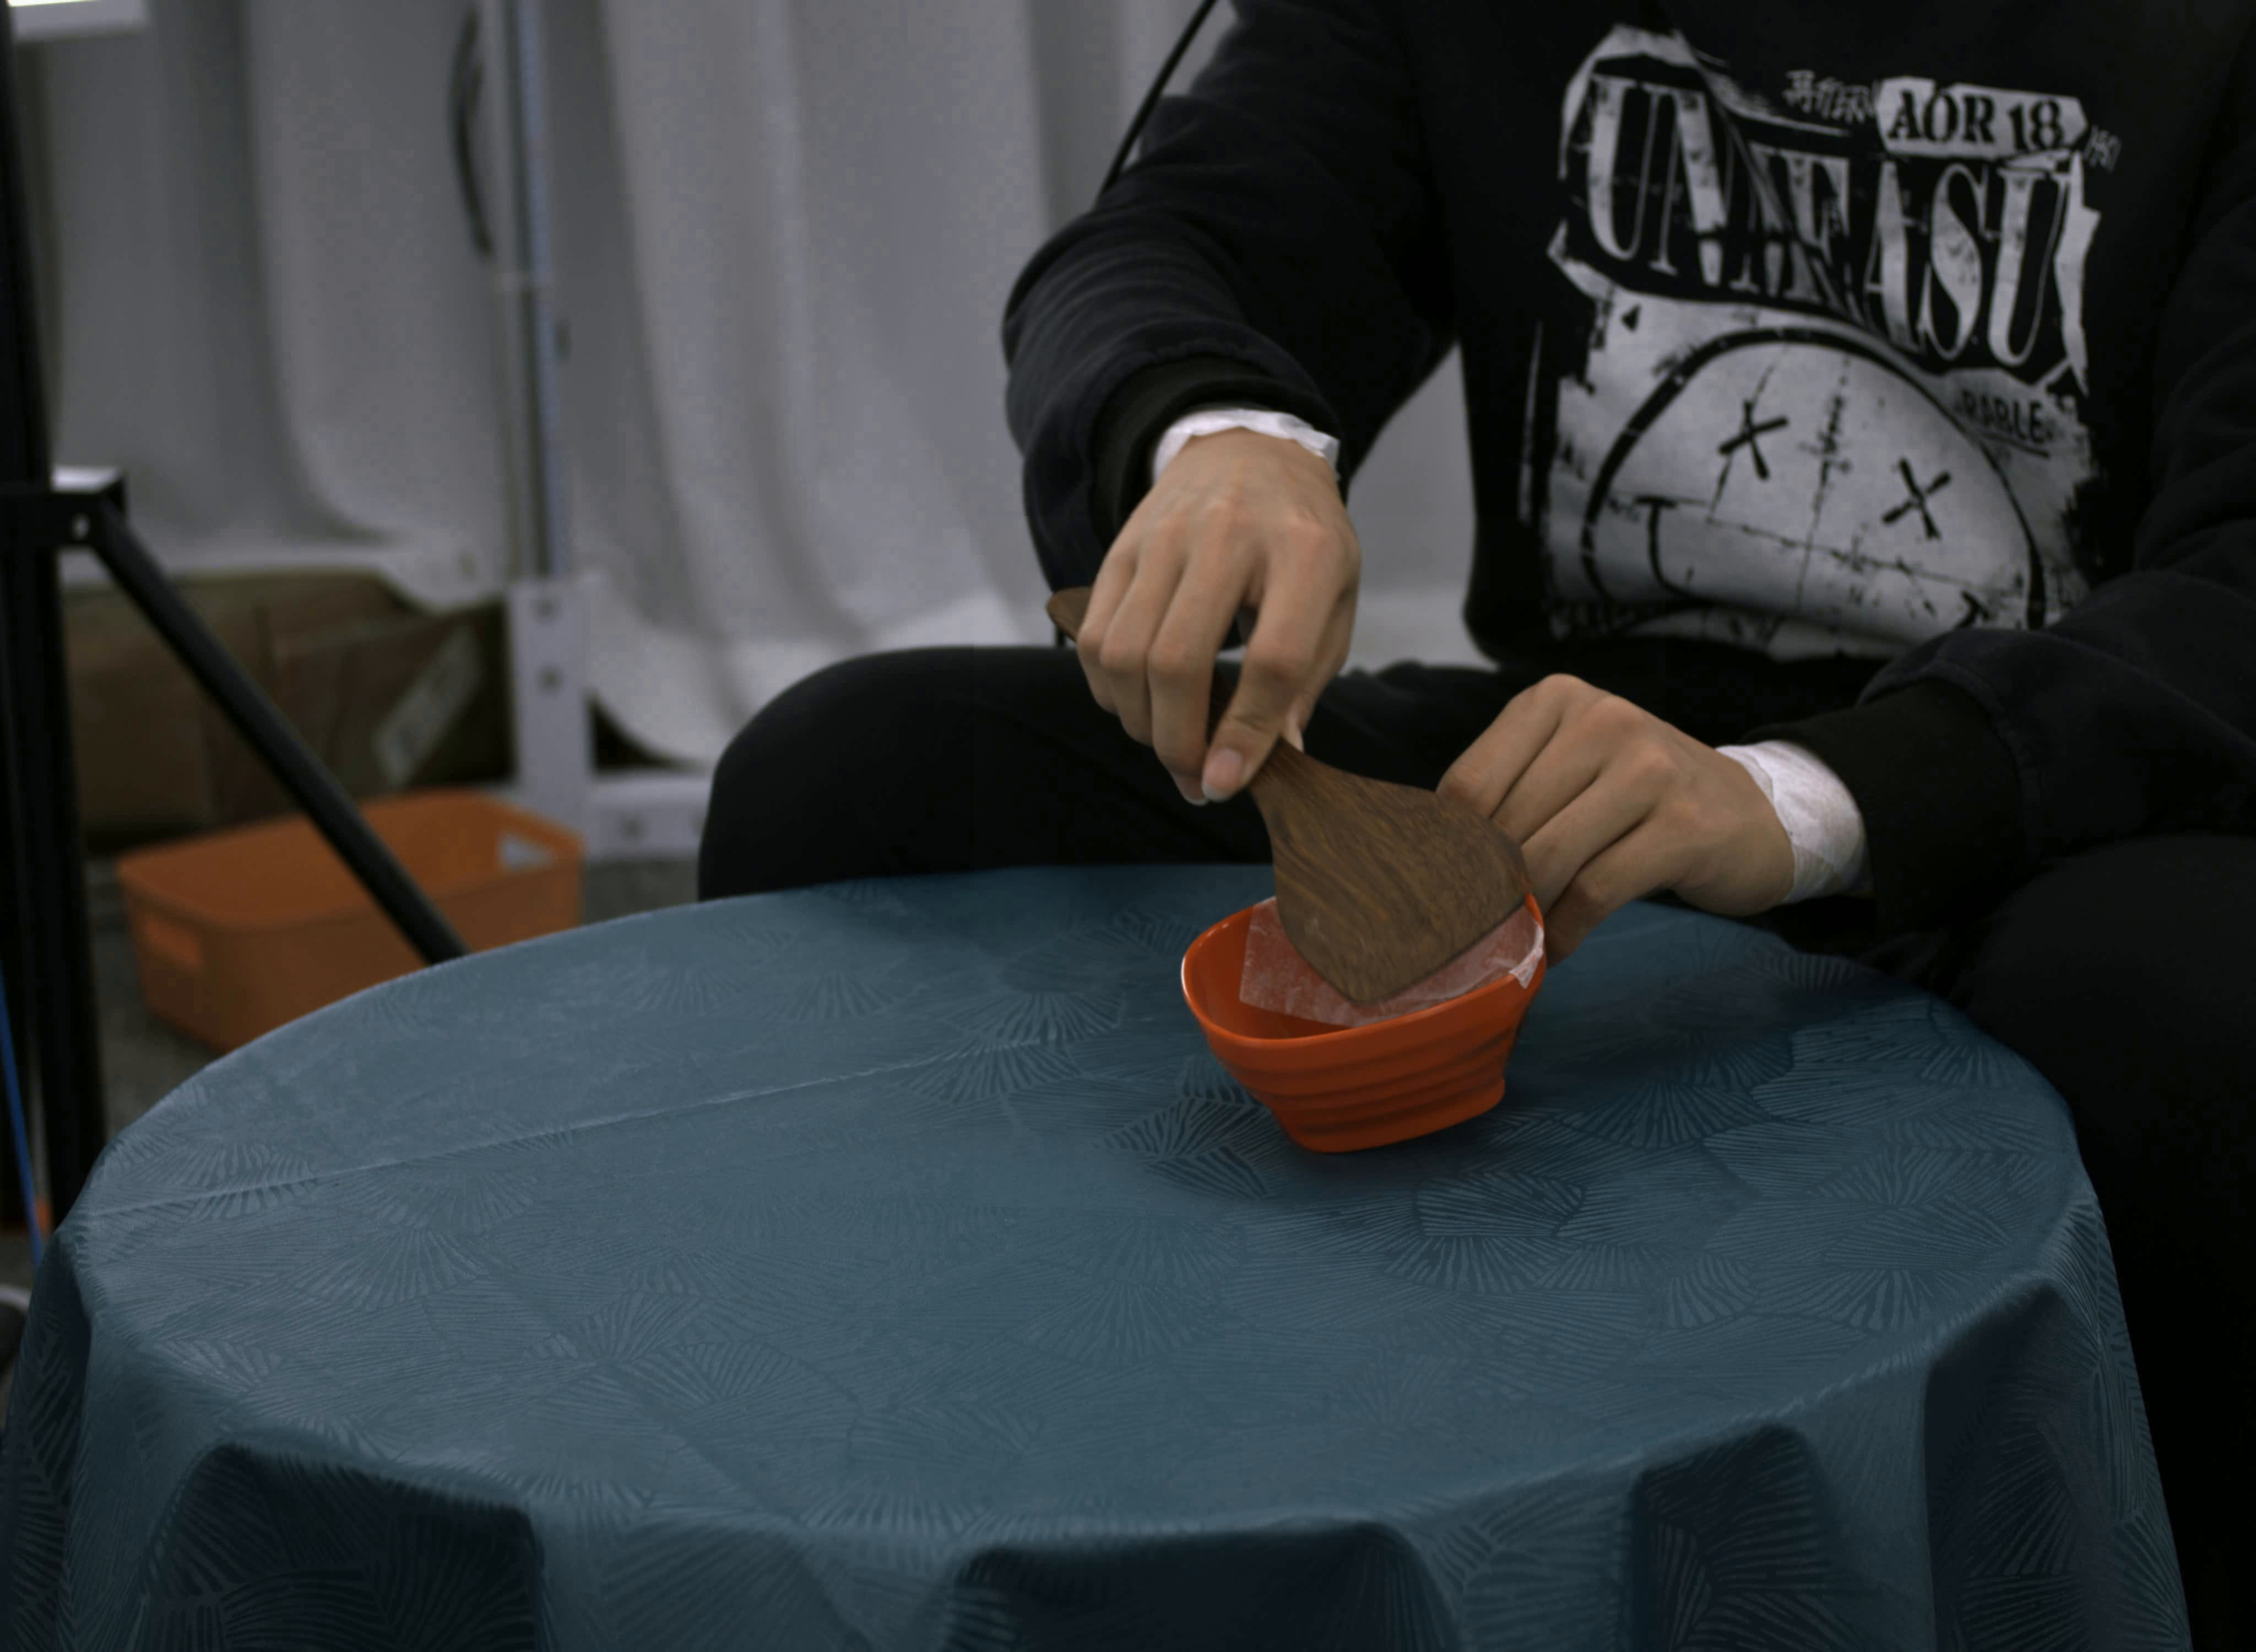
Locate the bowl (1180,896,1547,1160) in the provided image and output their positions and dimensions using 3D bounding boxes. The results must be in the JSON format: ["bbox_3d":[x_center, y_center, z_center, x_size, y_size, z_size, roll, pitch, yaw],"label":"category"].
[{"bbox_3d":[0.075,0.060,1.600,0.119,0.051,0.120,-14,22,4],"label":"bowl"}]

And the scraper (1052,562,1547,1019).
[{"bbox_3d":[0.042,-0.018,1.617,0.075,0.010,0.216,-36,50,-9],"label":"scraper"}]
